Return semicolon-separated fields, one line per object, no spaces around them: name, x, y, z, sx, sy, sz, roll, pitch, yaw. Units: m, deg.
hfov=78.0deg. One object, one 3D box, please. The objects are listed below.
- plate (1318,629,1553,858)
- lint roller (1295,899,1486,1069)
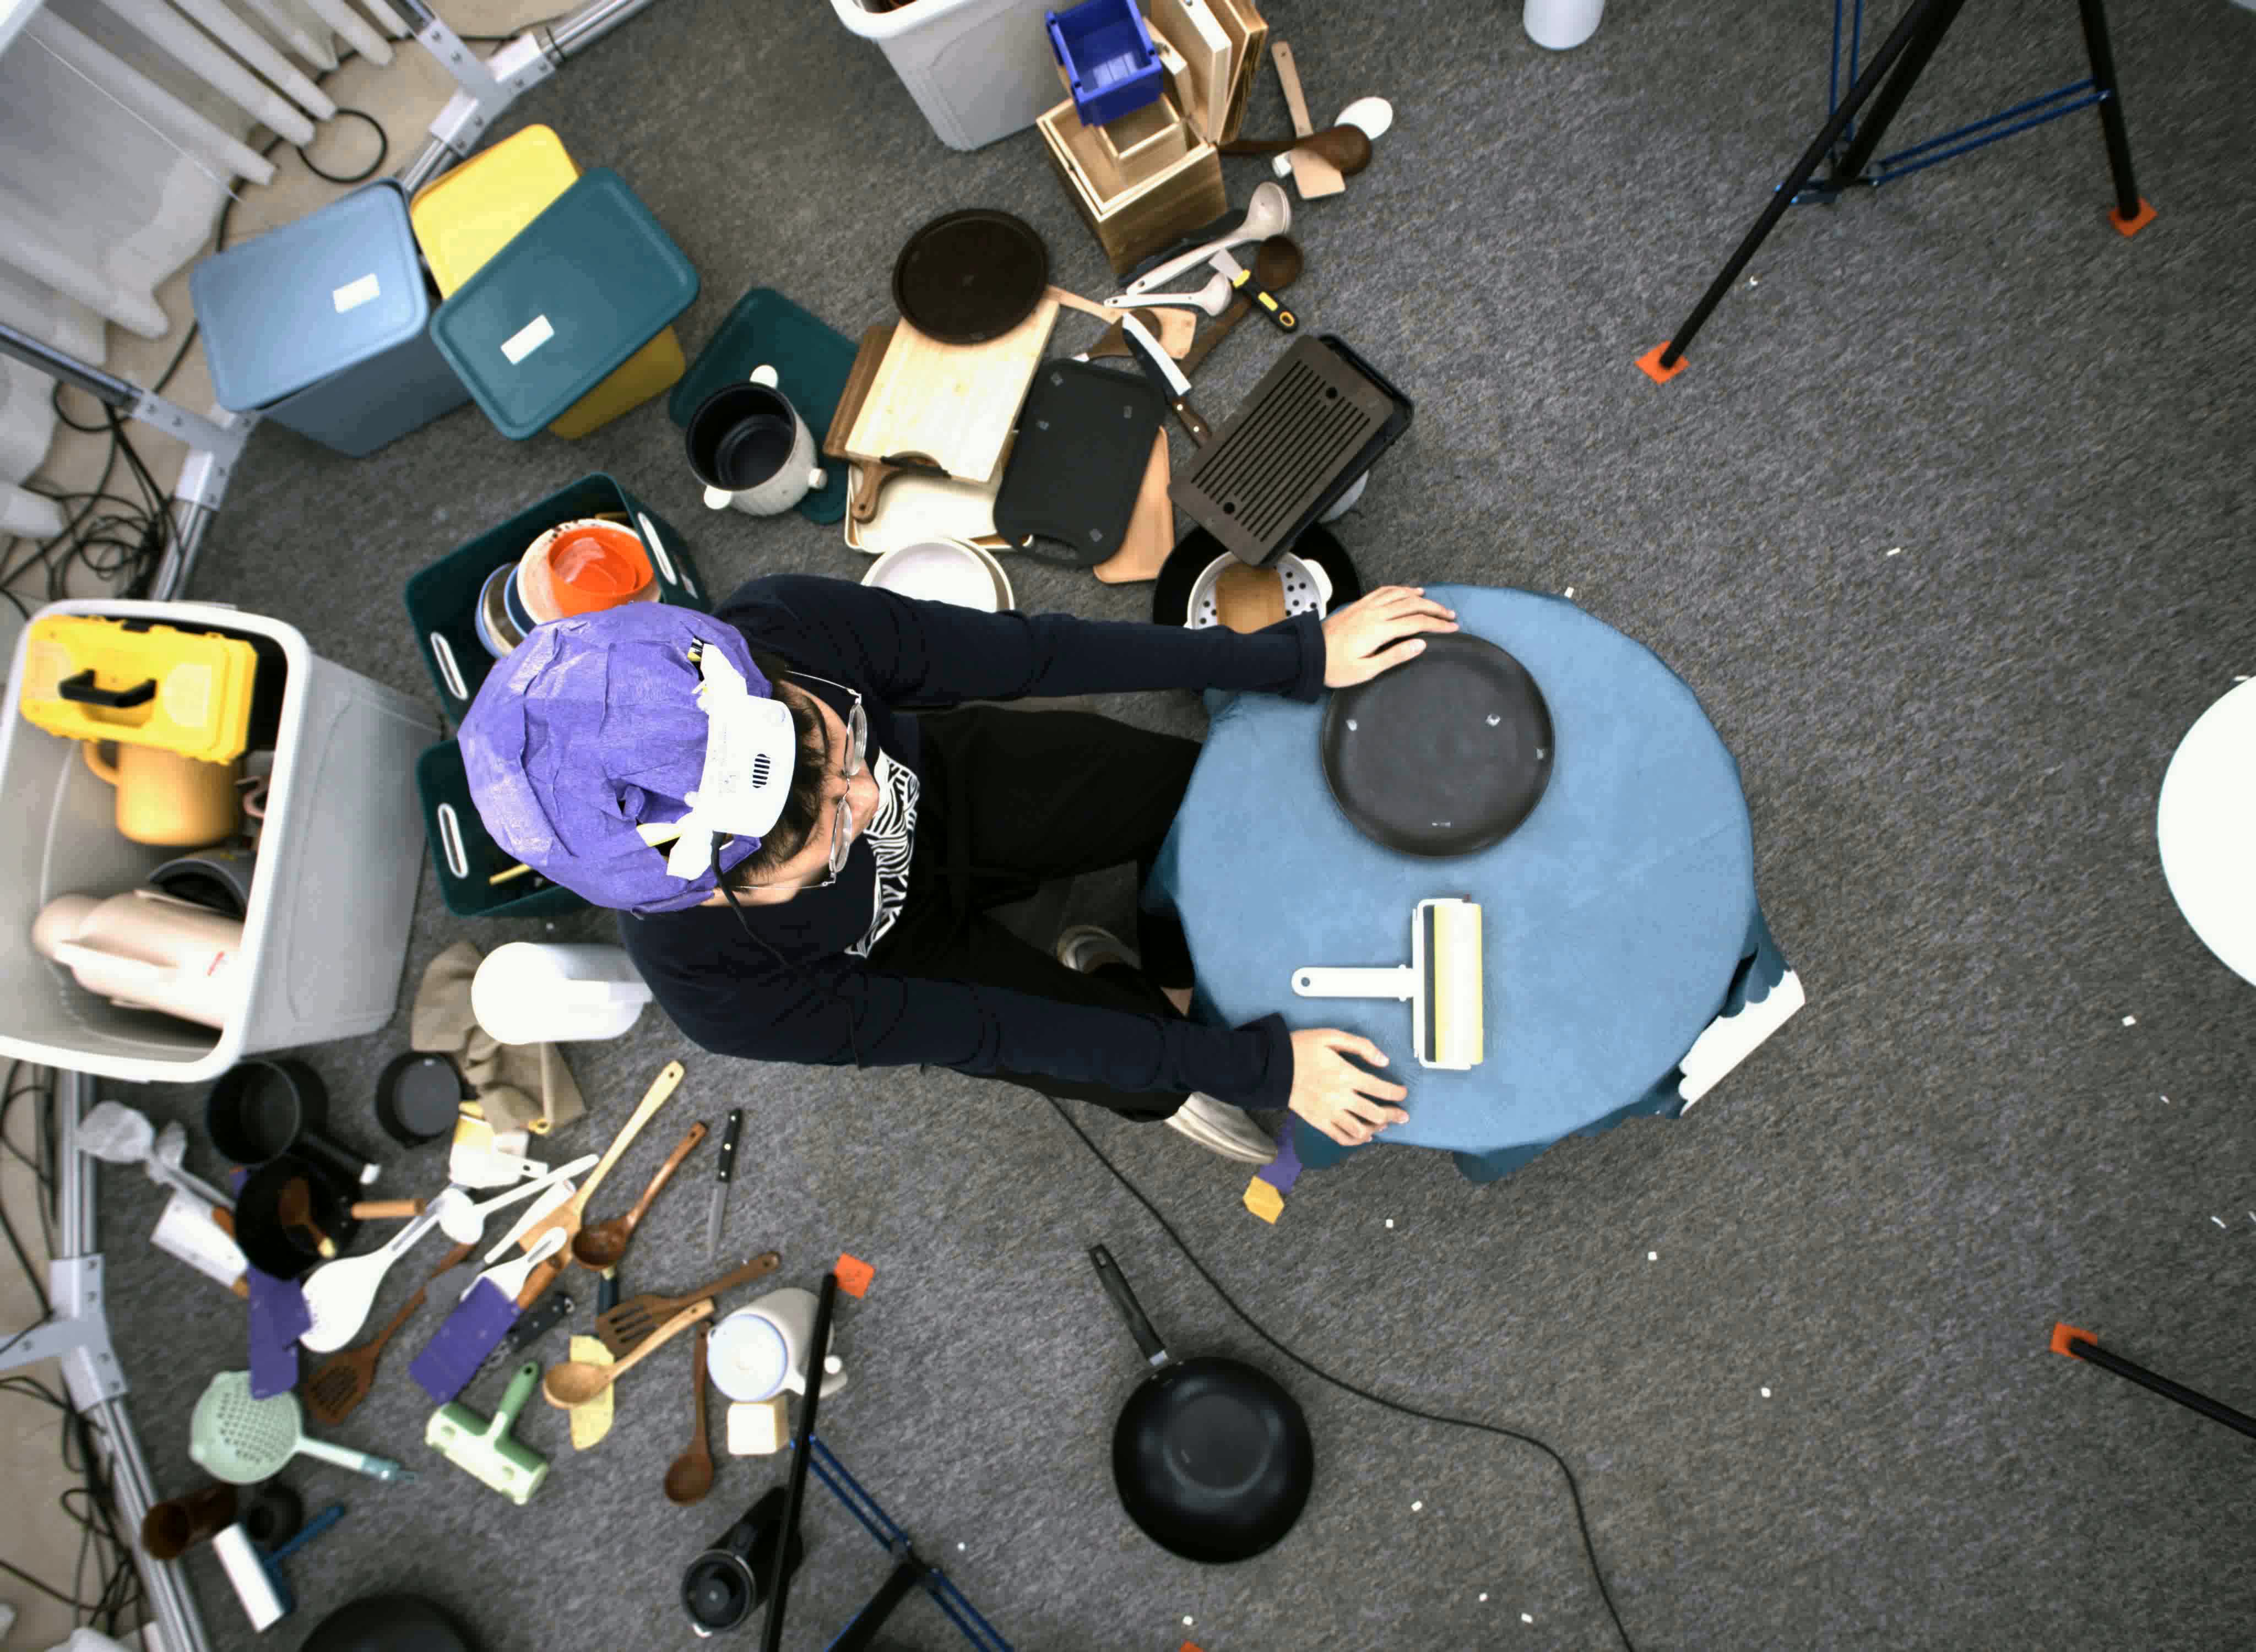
plate;0.322;-0.088;1.448;0.245;0.023;0.243;-1;87;11
lint roller;0.269;0.163;1.431;0.192;0.051;0.173;-2;85;8
